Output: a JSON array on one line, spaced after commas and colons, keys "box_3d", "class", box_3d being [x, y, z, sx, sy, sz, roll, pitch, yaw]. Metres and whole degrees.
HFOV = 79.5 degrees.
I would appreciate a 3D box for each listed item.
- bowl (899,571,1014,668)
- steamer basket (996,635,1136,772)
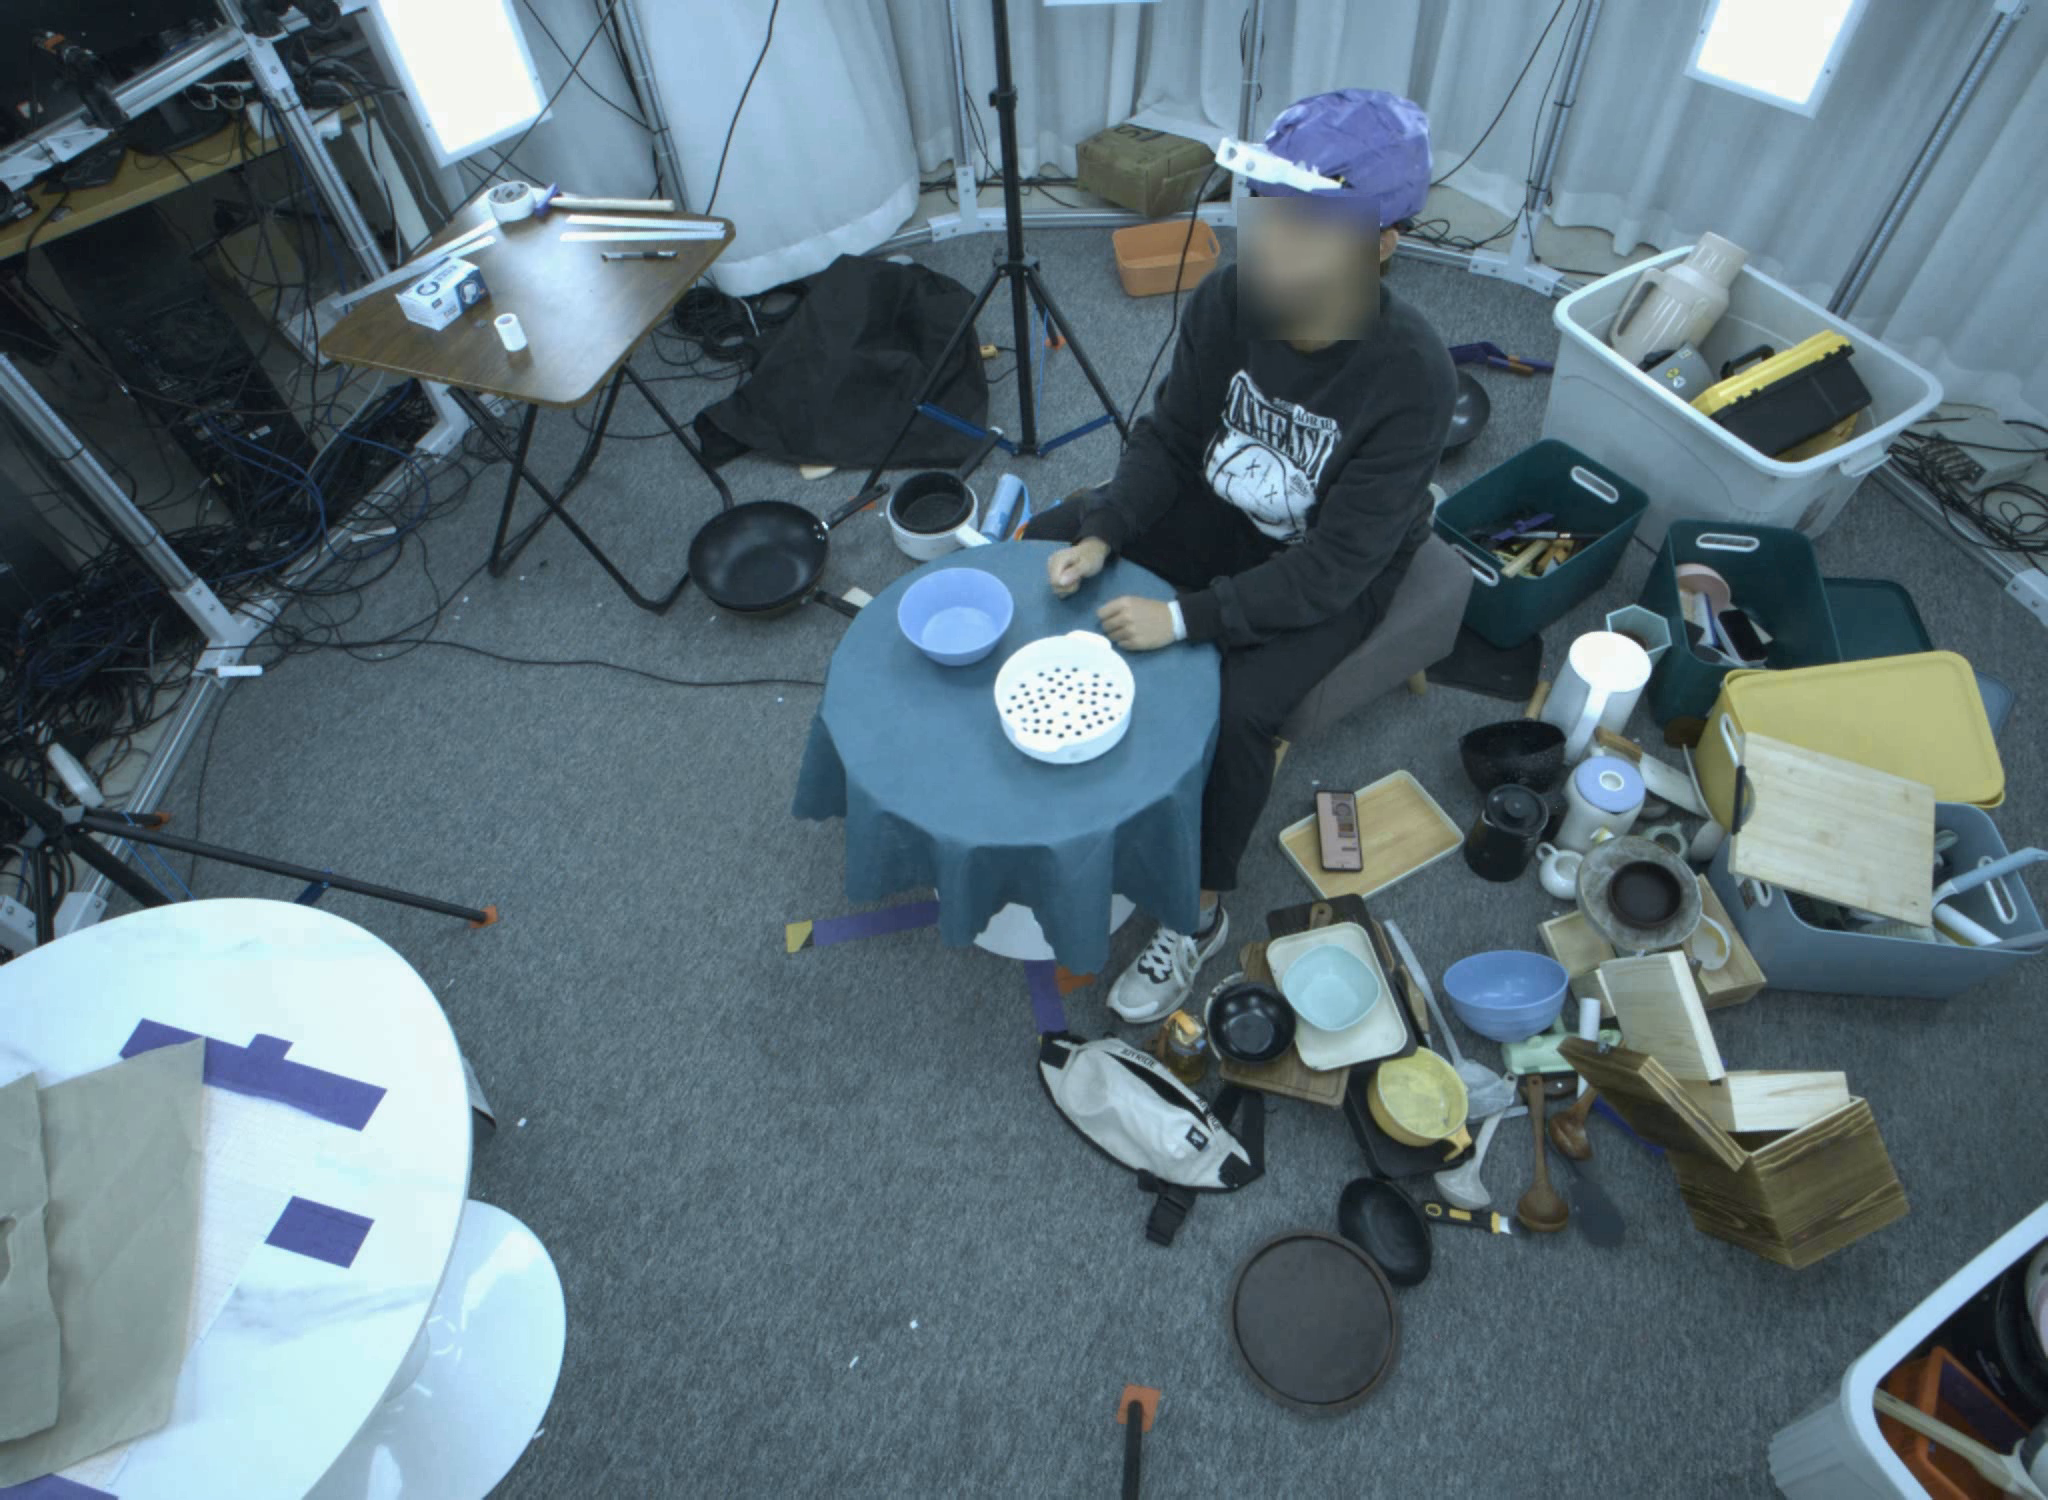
[{"box_3d": [-0.102, -0.192, 1.892, 0.176, 0.071, 0.174, 0, 55, 1], "class": "bowl"}, {"box_3d": [0.062, -0.063, 1.798, 0.200, 0.070, 0.230, 17, 59, 13], "class": "steamer basket"}]
